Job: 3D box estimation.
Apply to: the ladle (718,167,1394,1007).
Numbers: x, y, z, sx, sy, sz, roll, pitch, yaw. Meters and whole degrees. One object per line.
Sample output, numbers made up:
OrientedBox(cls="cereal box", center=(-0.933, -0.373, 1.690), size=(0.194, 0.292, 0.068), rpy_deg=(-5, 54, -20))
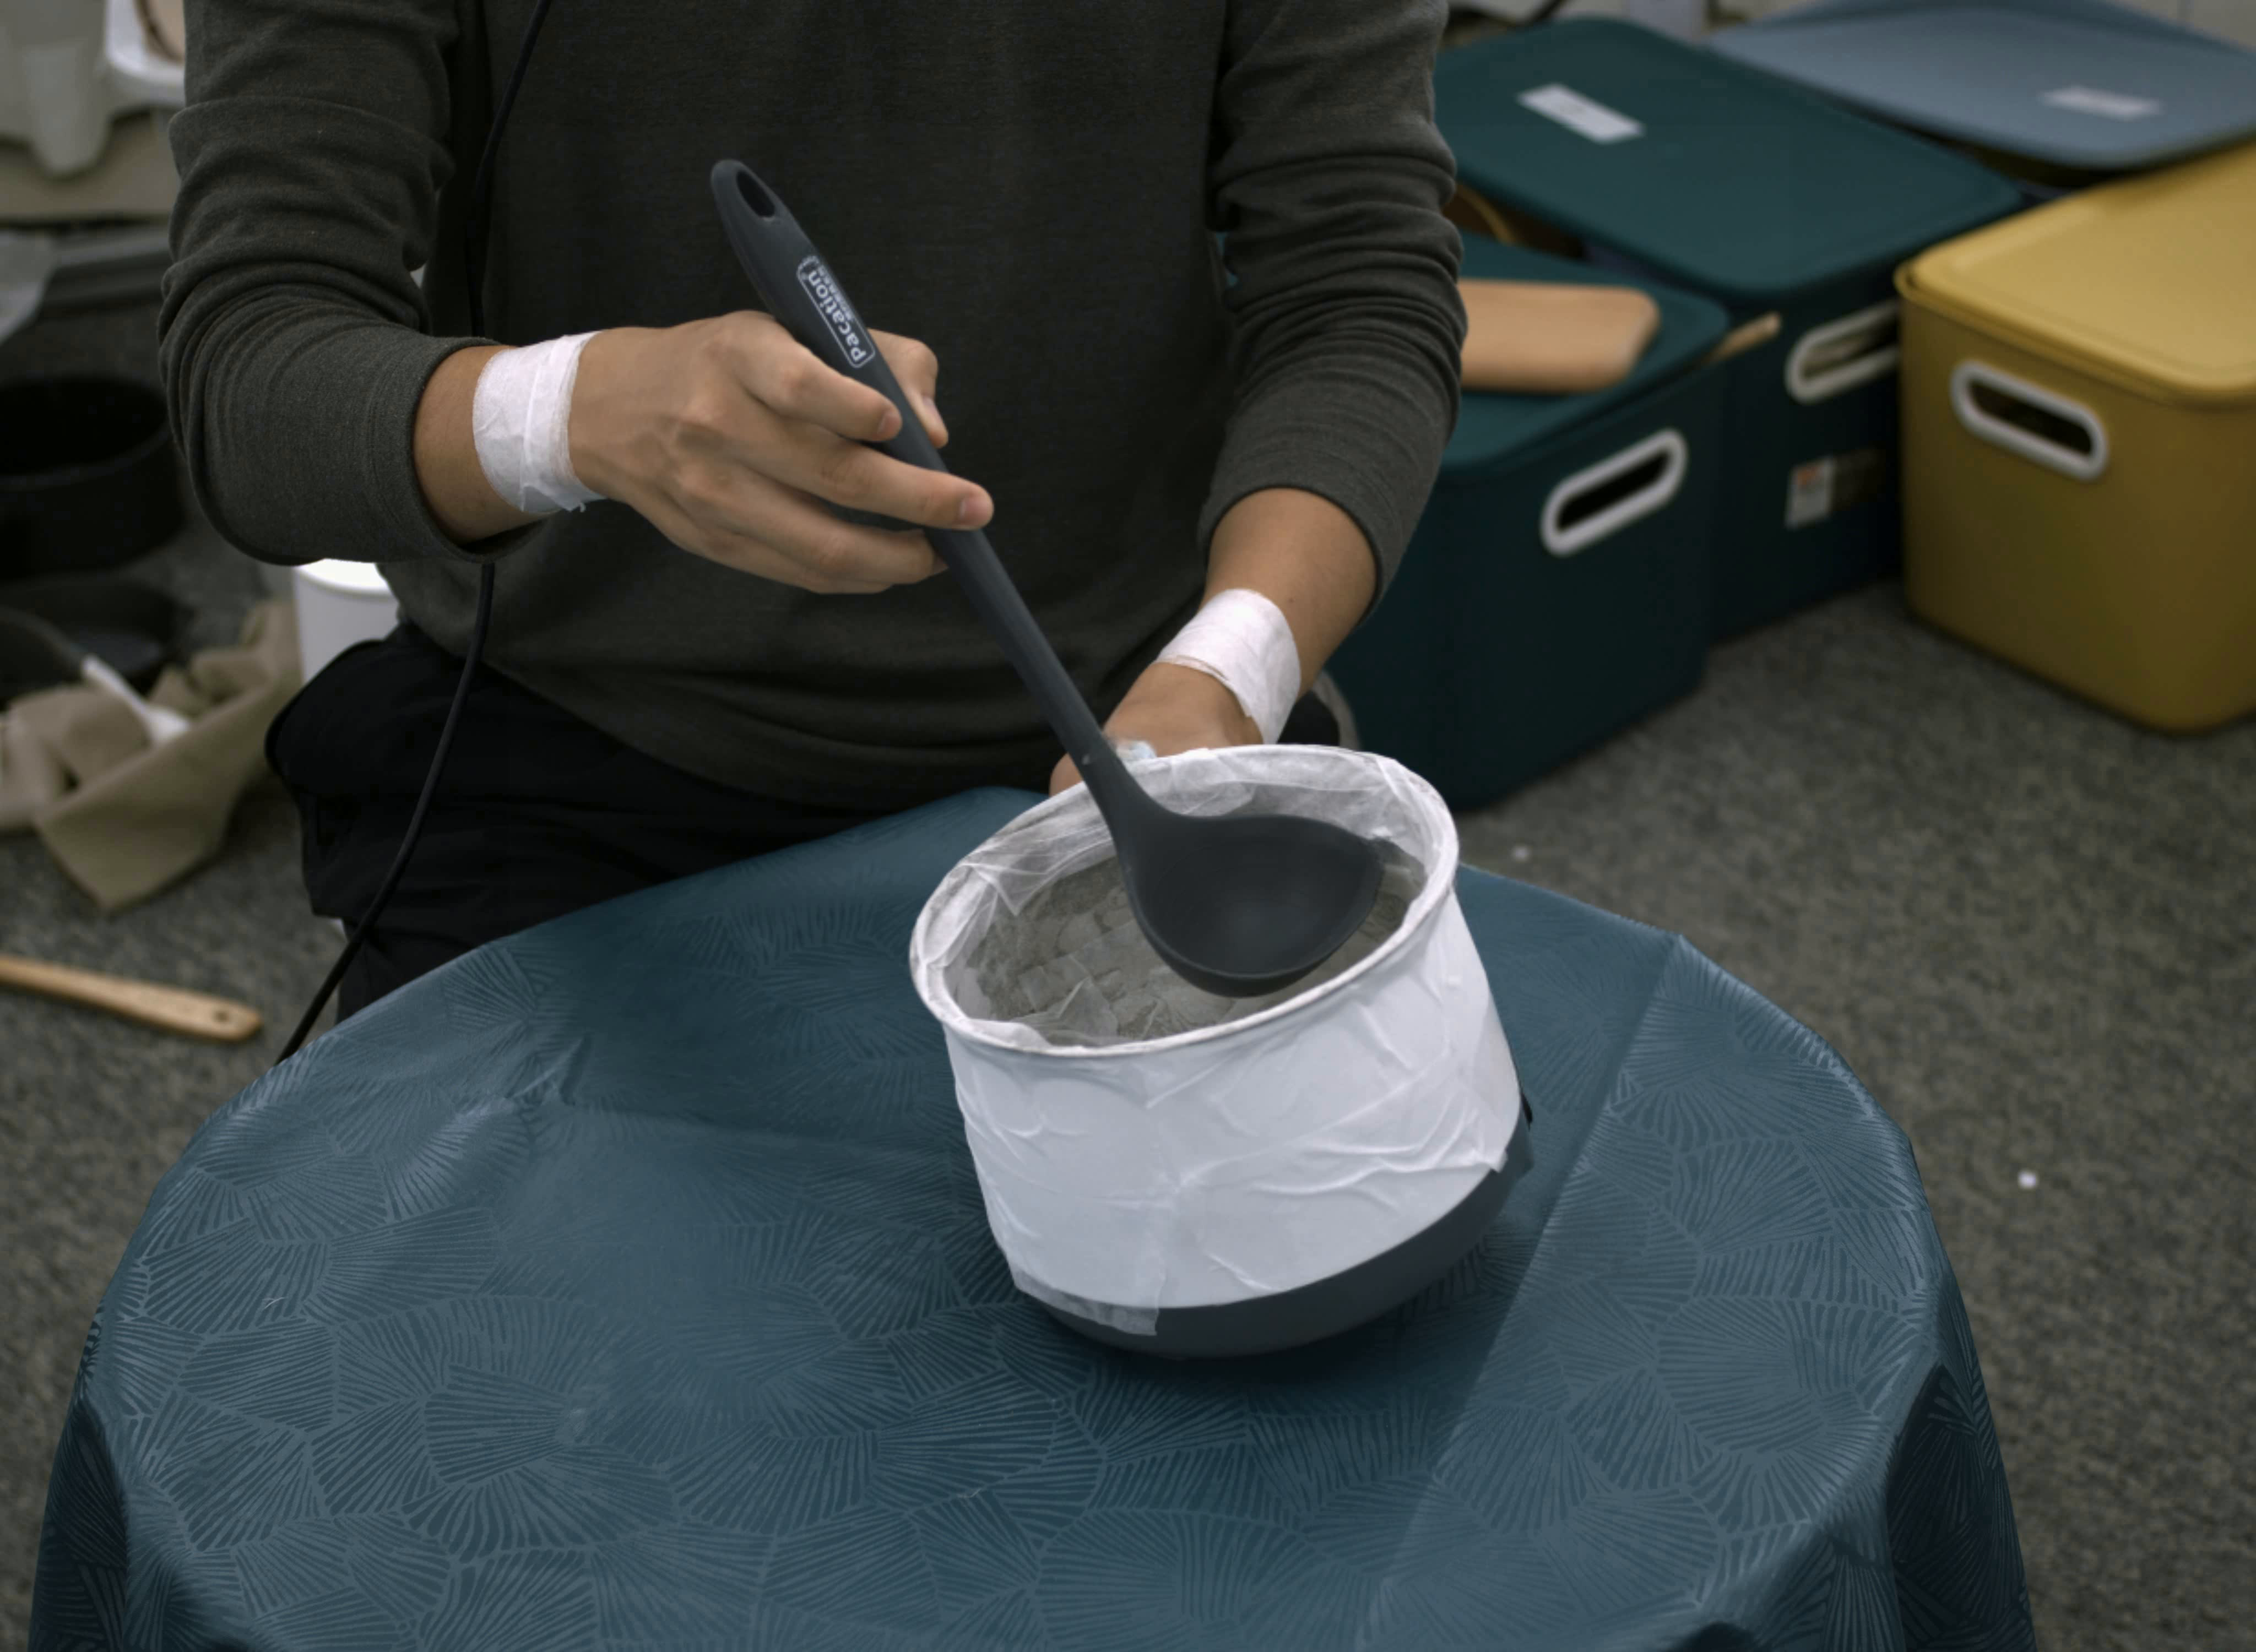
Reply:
OrientedBox(cls="ladle", center=(-0.026, -0.080, 1.763), size=(0.063, 0.313, 0.087), rpy_deg=(-24, 13, 40))

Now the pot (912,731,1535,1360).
OrientedBox(cls="pot", center=(0.026, 0.061, 1.808), size=(0.178, 0.135, 0.236), rpy_deg=(-17, 29, -5))
